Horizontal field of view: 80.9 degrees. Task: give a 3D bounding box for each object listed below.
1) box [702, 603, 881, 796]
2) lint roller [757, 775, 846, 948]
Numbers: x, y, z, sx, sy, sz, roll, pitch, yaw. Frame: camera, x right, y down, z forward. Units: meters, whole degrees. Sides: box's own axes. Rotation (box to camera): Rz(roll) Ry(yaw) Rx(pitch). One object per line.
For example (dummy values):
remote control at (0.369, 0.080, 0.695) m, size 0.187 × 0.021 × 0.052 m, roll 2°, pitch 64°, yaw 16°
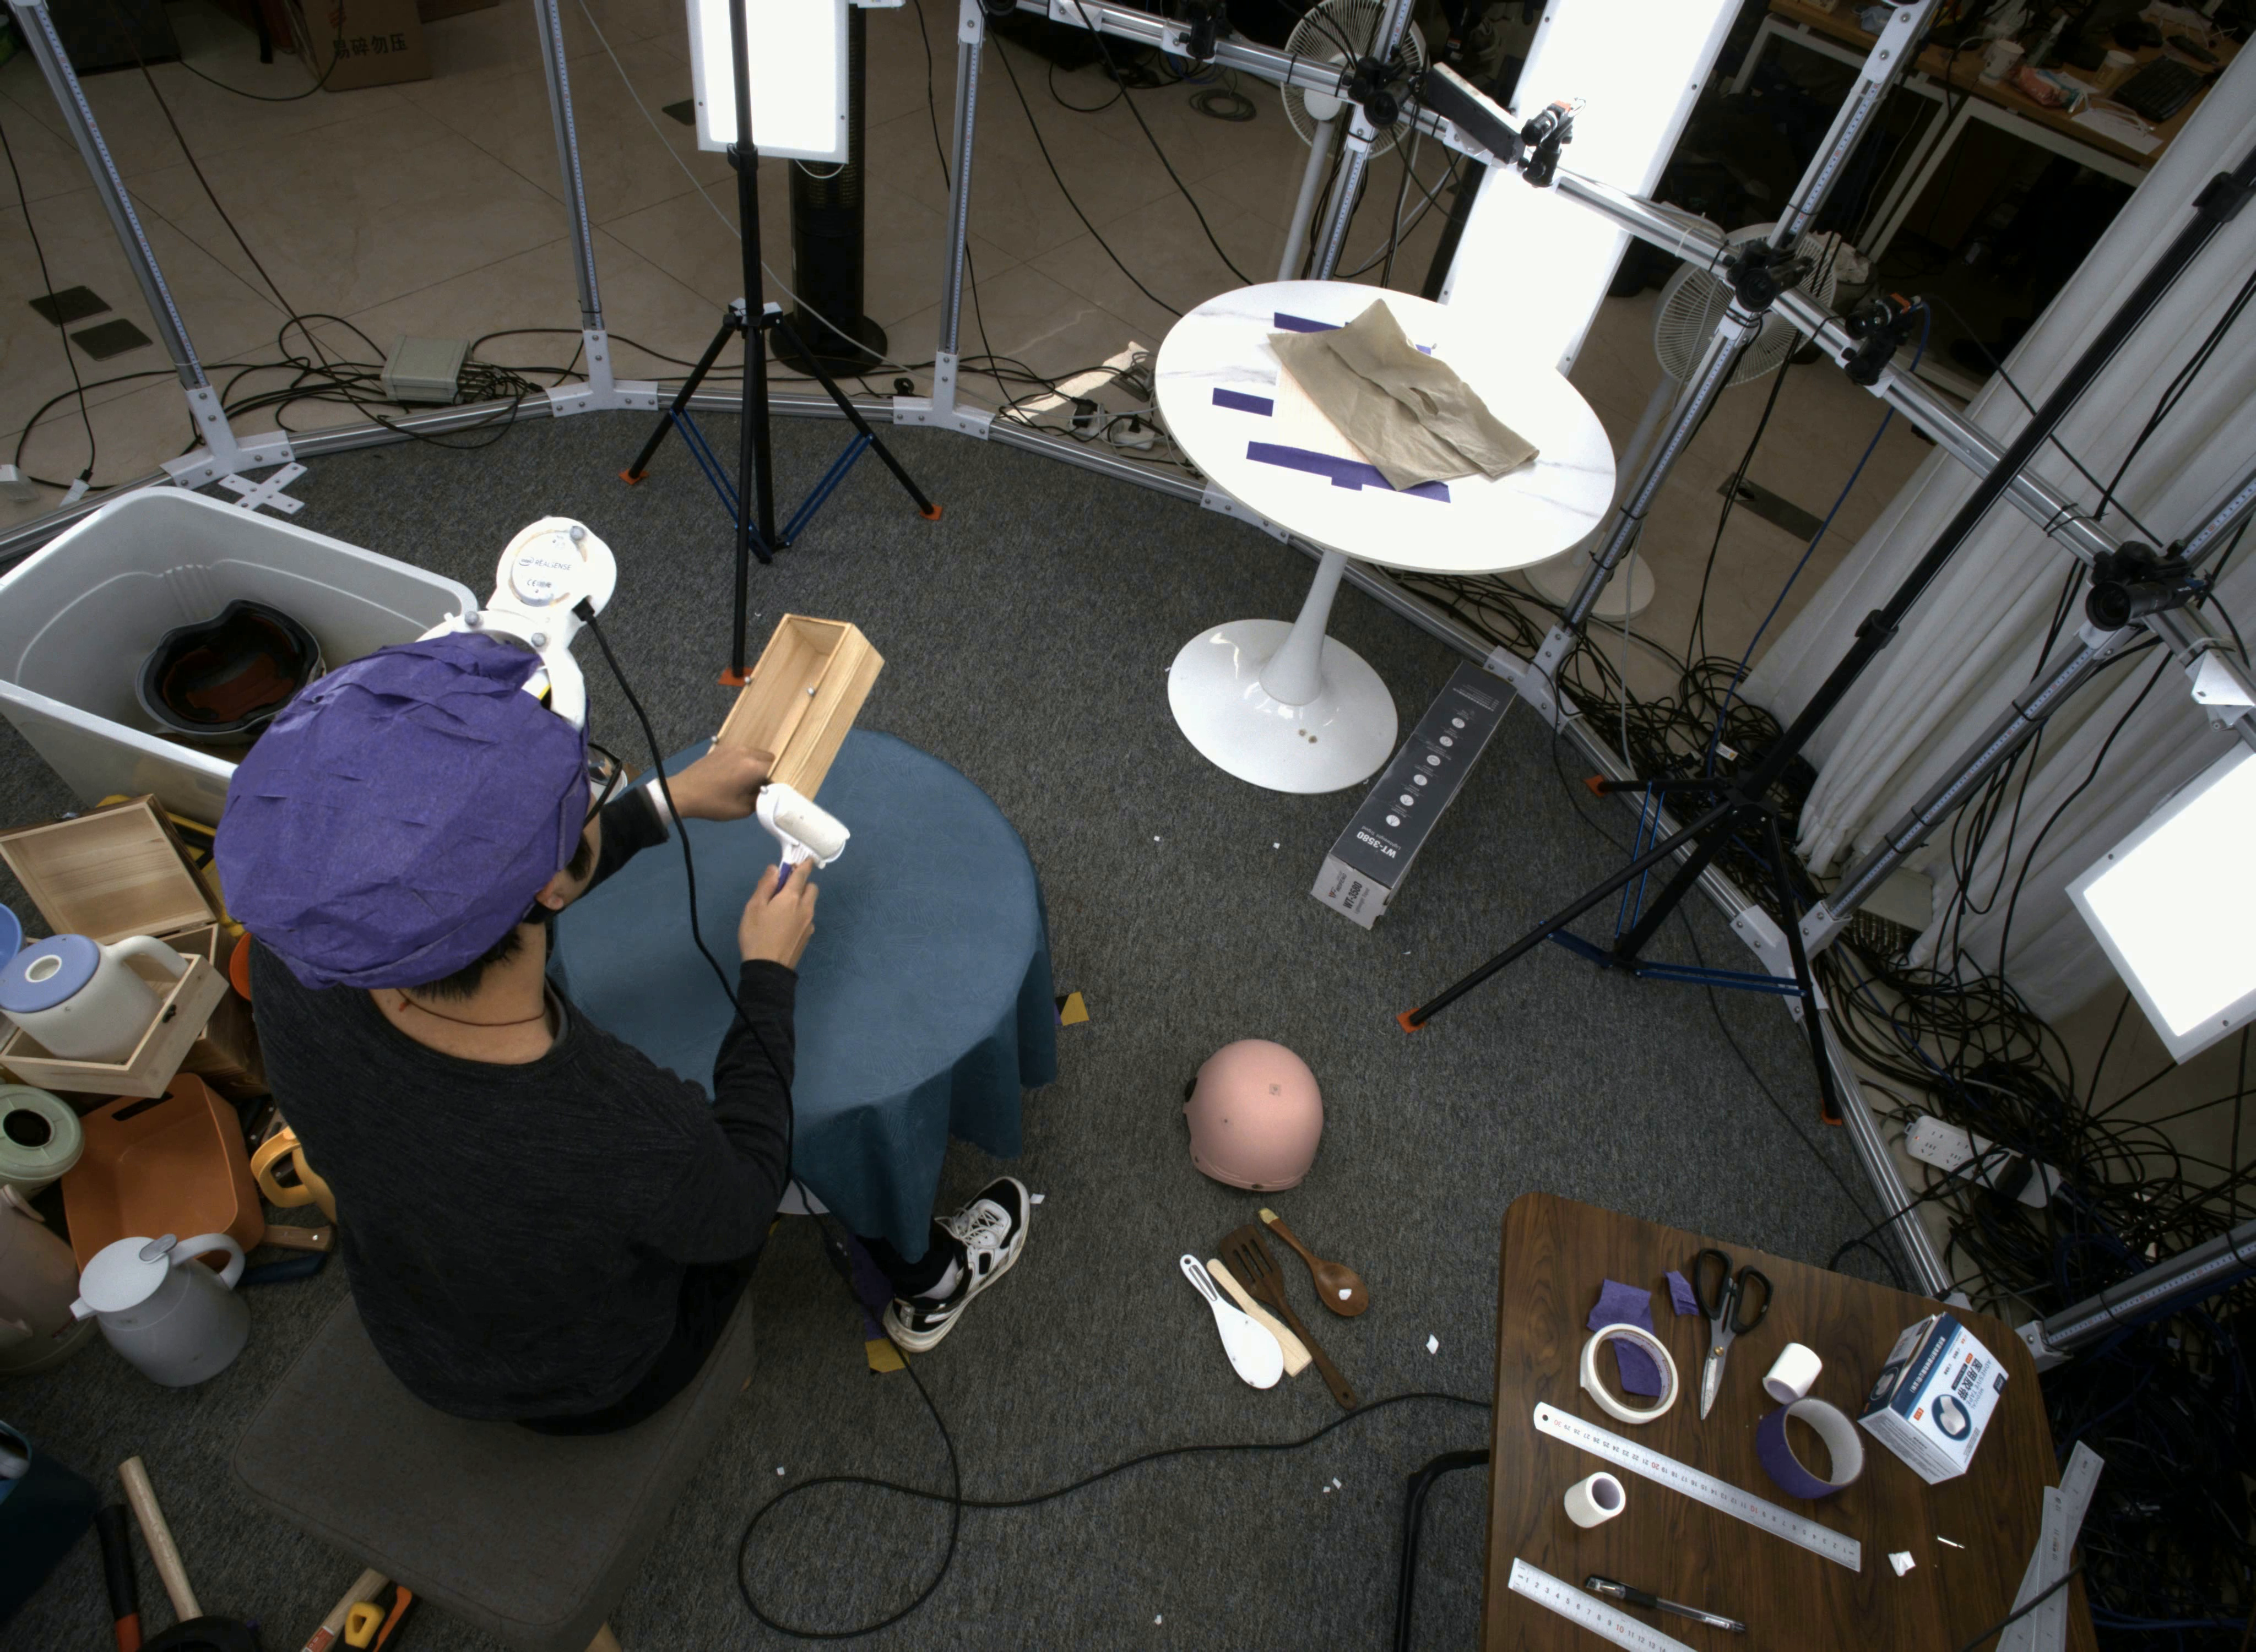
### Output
box at (-0.388, -0.143, 1.502) m, size 0.104 × 0.083 × 0.211 m, roll 11°, pitch 68°, yaw 26°
lint roller at (-0.367, 0.043, 1.424) m, size 0.049 × 0.137 × 0.179 m, roll -9°, pitch 62°, yaw 20°
